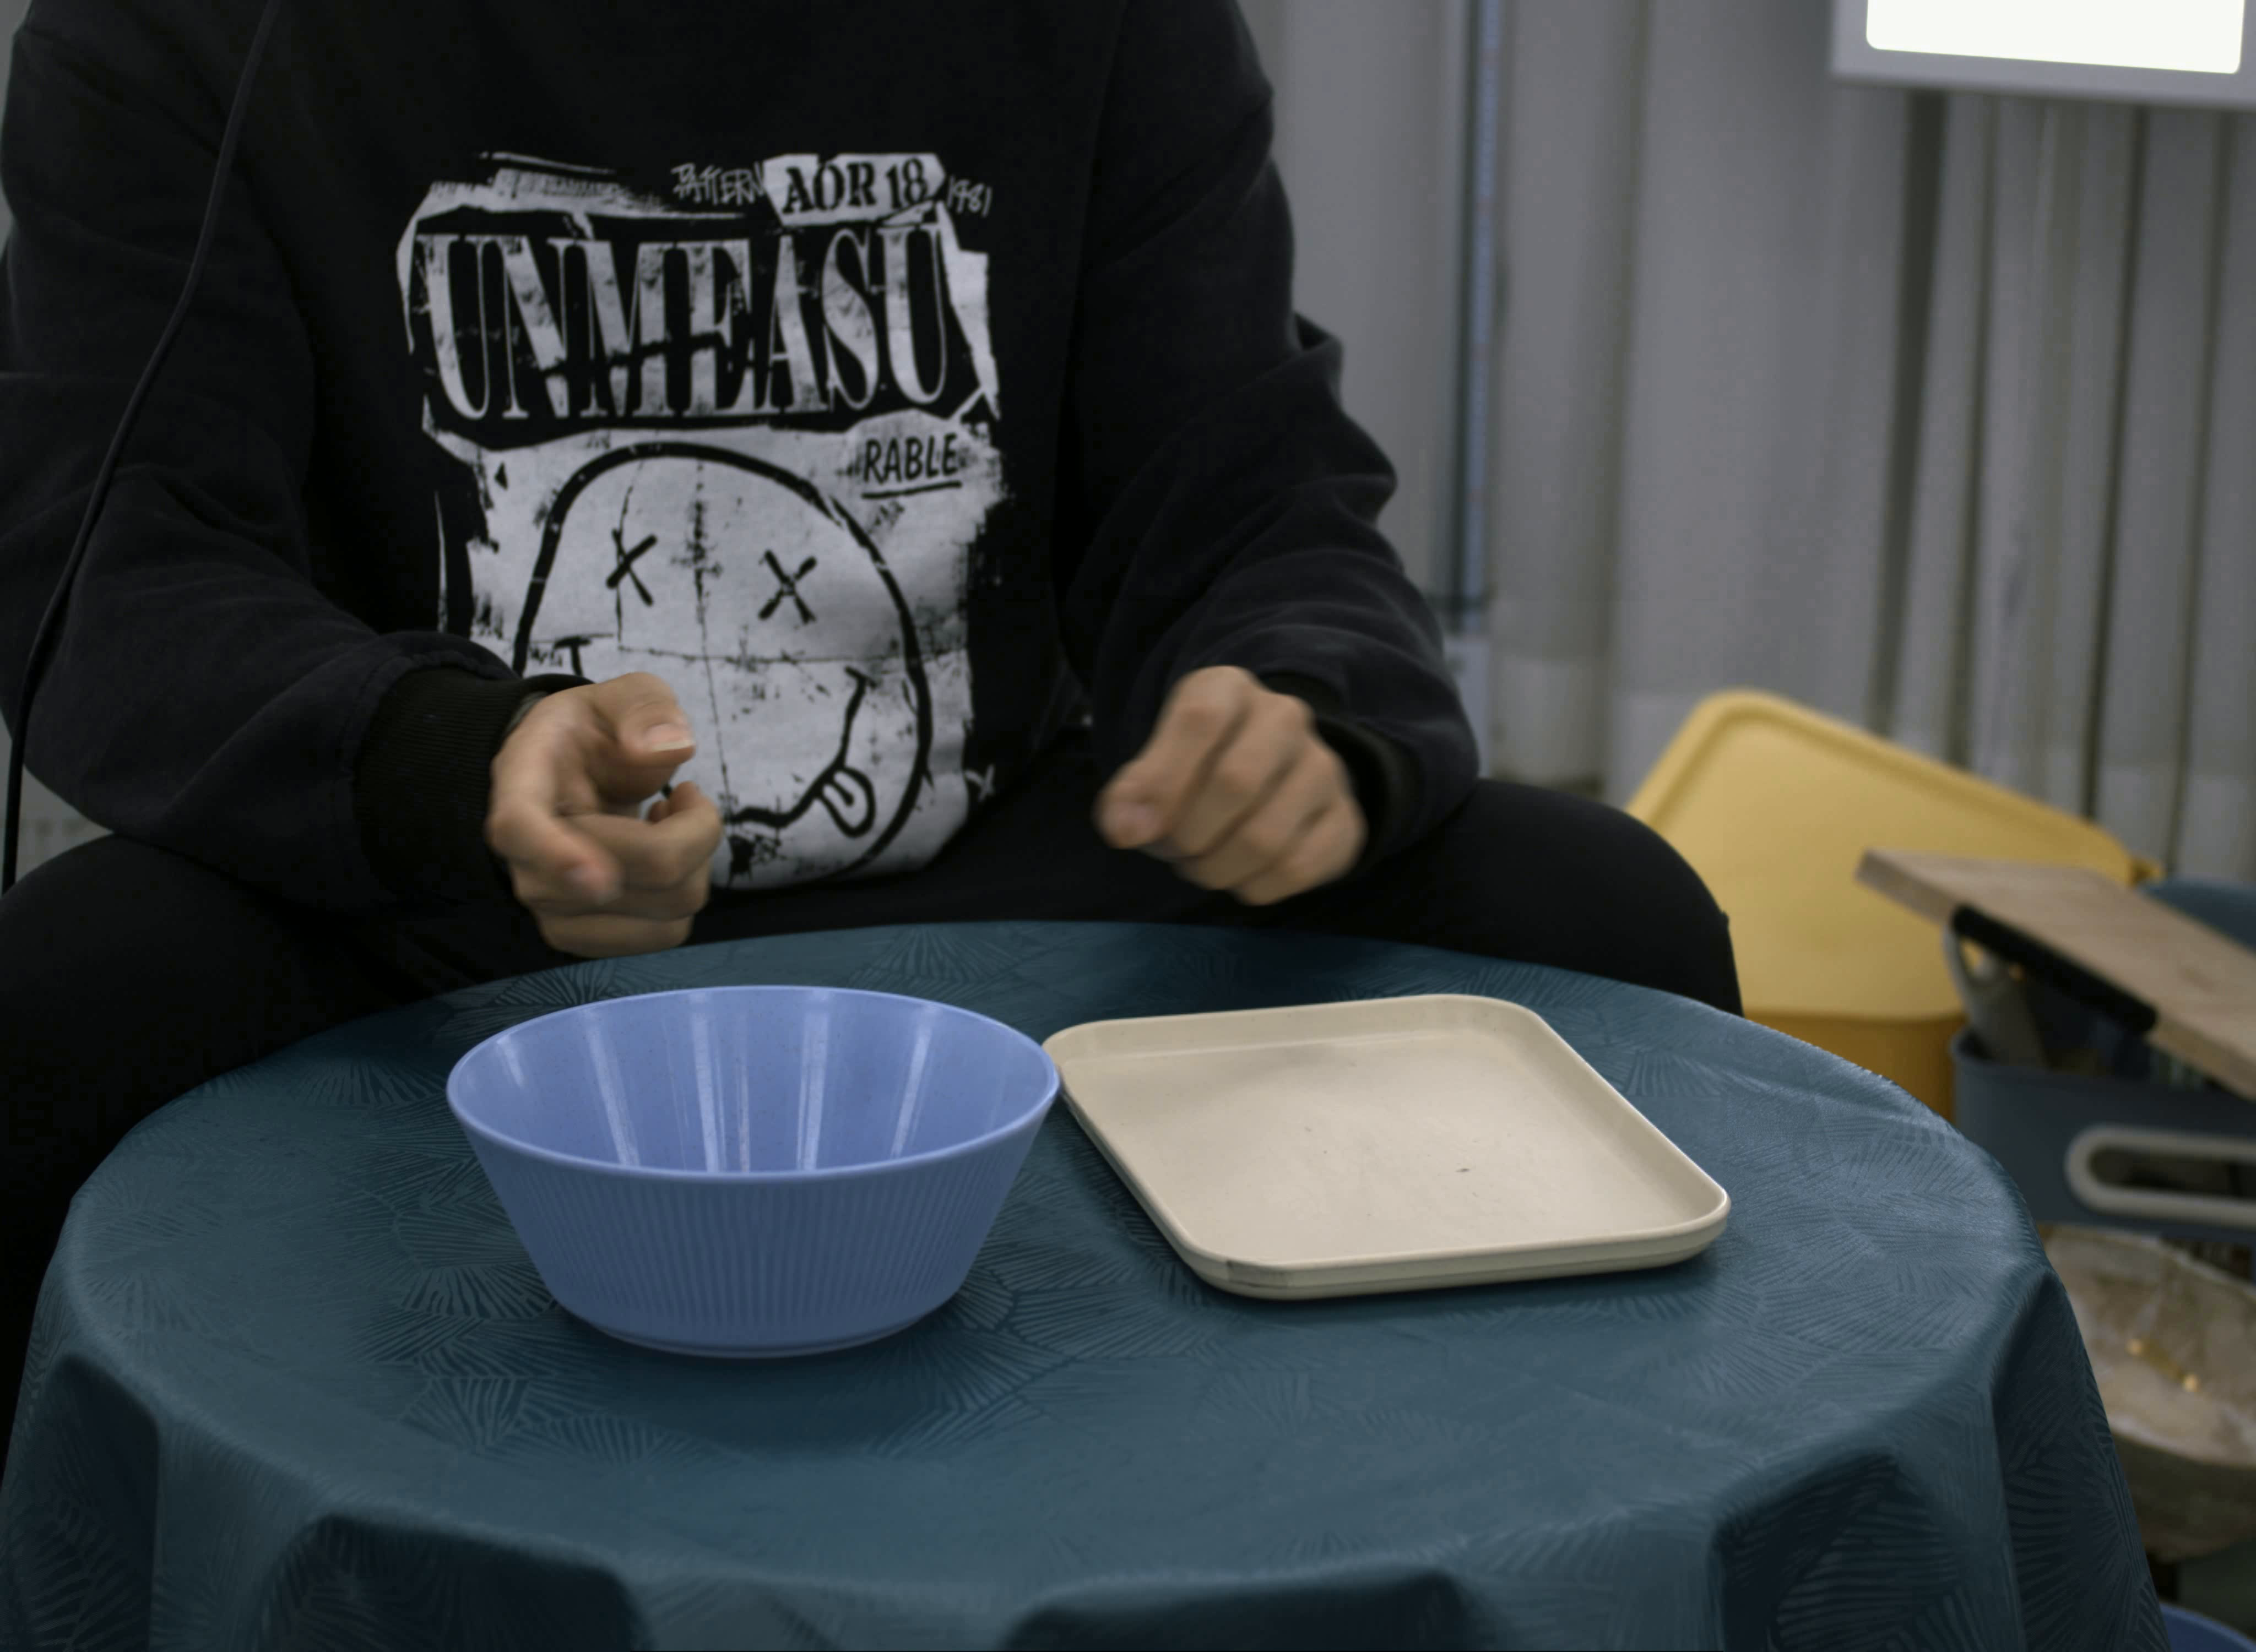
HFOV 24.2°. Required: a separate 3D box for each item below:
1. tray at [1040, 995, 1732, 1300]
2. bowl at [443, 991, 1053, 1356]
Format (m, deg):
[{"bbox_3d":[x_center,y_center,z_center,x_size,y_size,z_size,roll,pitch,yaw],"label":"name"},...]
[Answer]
[{"bbox_3d":[0.076,0.099,1.645,0.171,0.017,0.237,-3,16,-14],"label":"tray"},{"bbox_3d":[-0.110,0.103,1.526,0.175,0.071,0.175,2,15,0],"label":"bowl"}]
